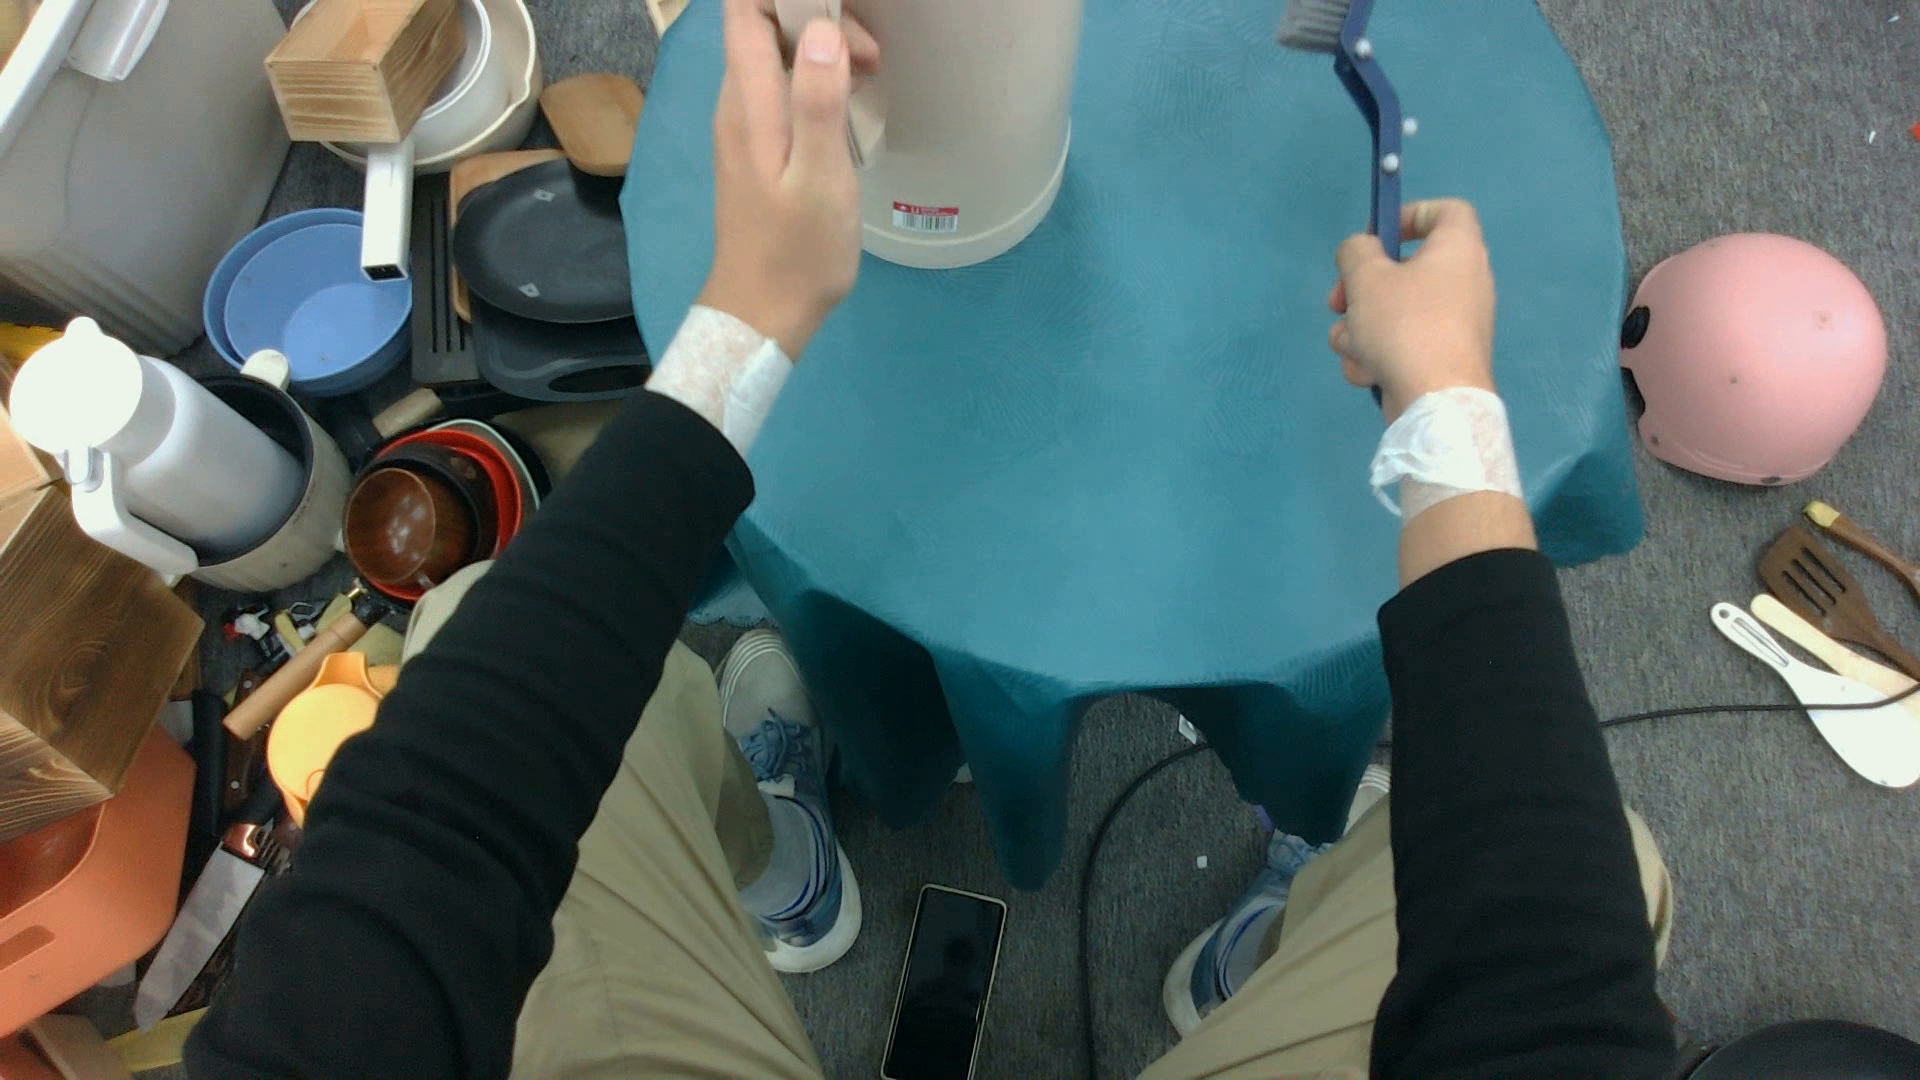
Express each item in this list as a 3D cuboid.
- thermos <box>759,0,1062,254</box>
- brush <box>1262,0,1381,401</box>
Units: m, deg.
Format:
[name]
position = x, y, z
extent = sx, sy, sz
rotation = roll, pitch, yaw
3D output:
[thermos]
position = -0.030, -0.287, 0.644
extent = 0.175, 0.405, 0.207
rotation = 25, 74, 4
[brush]
position = 0.215, -0.204, 0.717
extent = 0.096, 0.033, 0.274
rotation = -4, 72, 3
